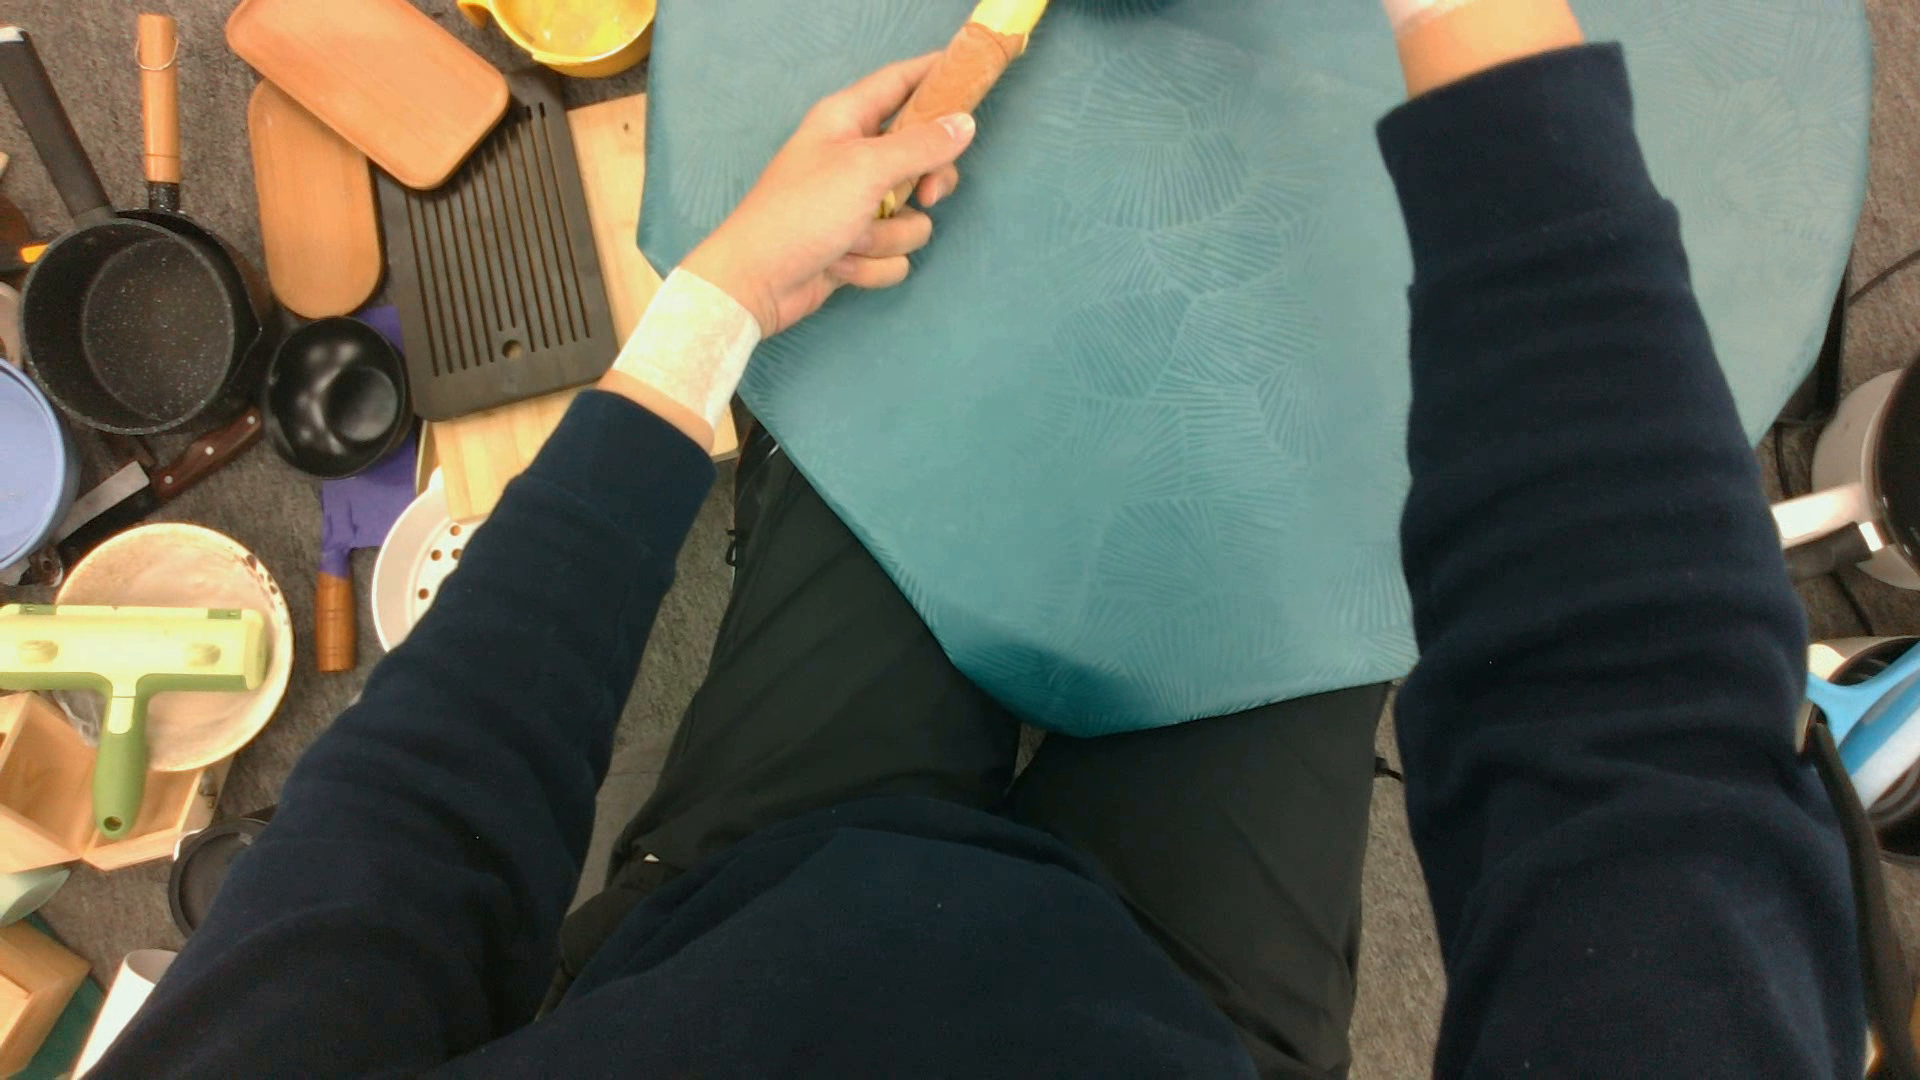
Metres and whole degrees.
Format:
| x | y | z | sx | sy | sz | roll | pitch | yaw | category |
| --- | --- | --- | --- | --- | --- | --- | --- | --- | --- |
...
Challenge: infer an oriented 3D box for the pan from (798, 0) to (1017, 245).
| x | y | z | sx | sy | sz | roll | pitch | yaw | category |
| --- | --- | --- | --- | --- | --- | --- | --- | --- | --- |
| 0.023 | -0.271 | 0.649 | 0.169 | 0.049 | 0.324 | 36 | 86 | -1 | pan |
